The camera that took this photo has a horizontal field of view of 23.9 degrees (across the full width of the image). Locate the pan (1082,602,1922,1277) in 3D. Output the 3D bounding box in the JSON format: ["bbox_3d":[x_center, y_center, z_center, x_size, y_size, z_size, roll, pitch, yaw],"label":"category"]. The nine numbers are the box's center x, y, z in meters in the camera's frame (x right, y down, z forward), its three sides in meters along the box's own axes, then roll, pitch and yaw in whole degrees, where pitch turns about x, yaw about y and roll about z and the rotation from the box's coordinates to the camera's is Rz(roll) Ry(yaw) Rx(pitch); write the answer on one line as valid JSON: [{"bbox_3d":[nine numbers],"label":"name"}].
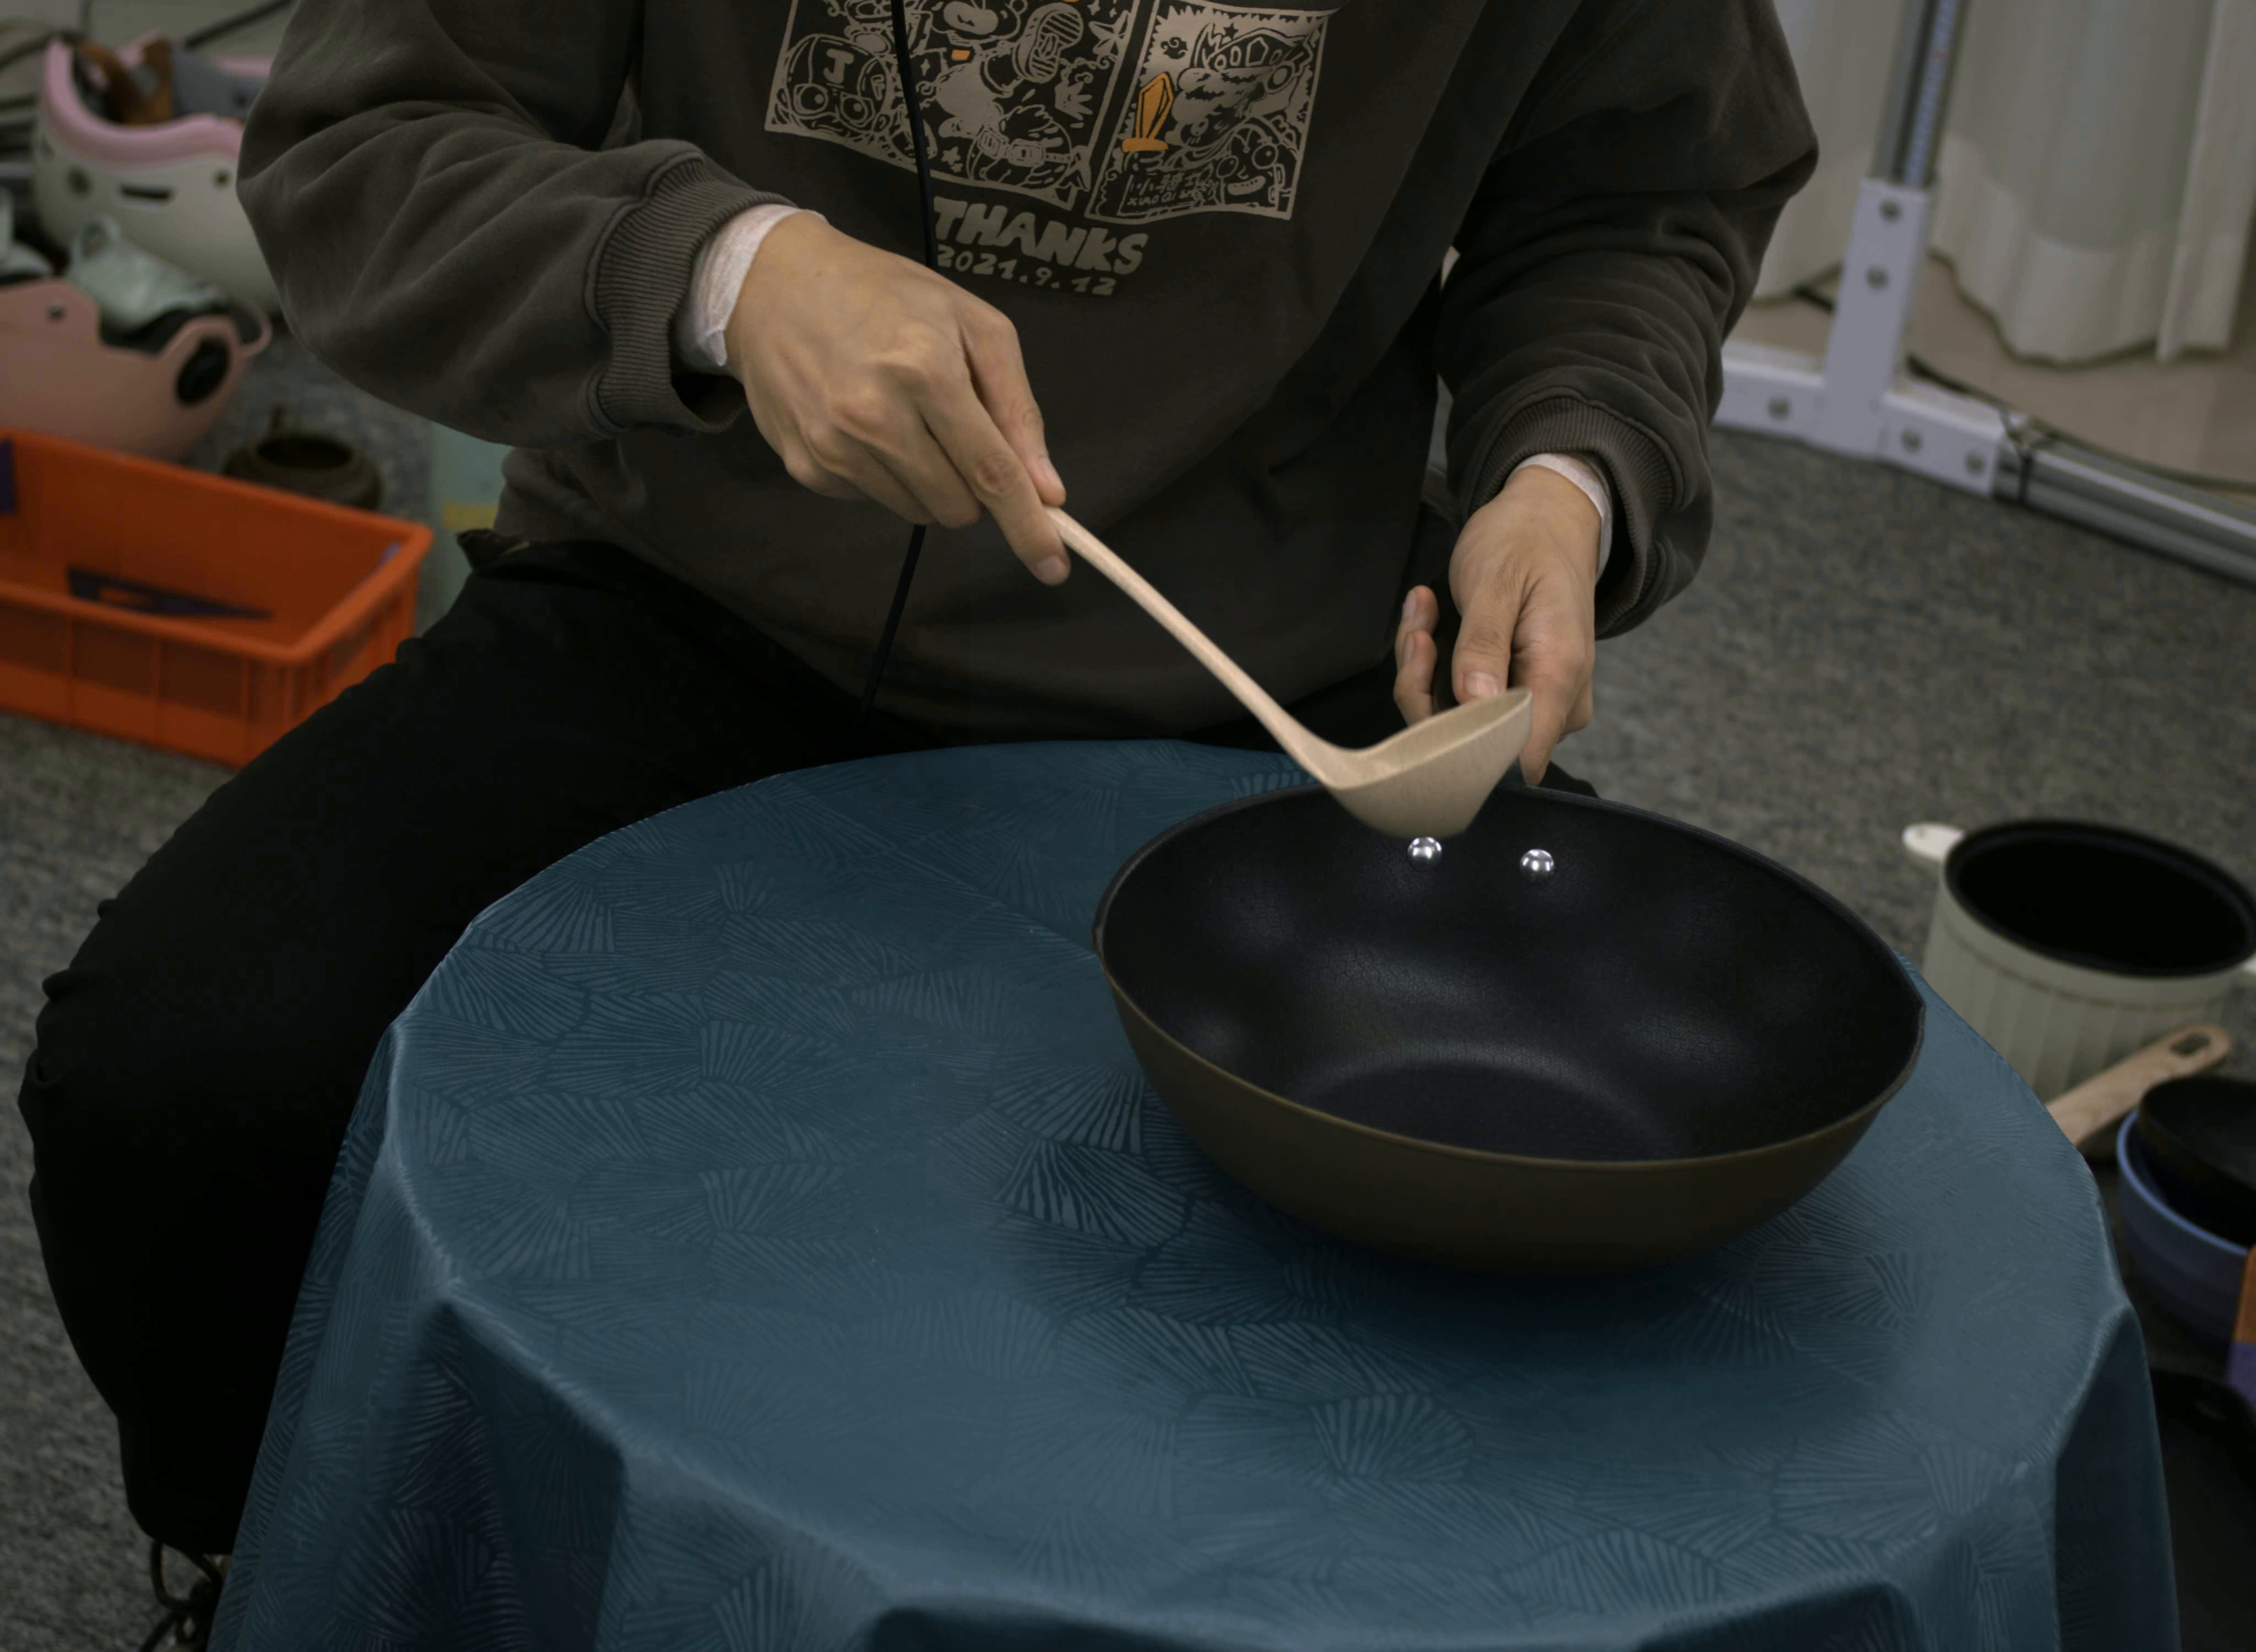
[{"bbox_3d":[0.124,0.041,1.906,0.287,0.086,0.466,5,25,-2],"label":"pan"}]

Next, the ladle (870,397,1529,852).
[{"bbox_3d":[0.028,-0.089,1.828,0.254,0.073,0.072,41,27,1],"label":"ladle"}]
